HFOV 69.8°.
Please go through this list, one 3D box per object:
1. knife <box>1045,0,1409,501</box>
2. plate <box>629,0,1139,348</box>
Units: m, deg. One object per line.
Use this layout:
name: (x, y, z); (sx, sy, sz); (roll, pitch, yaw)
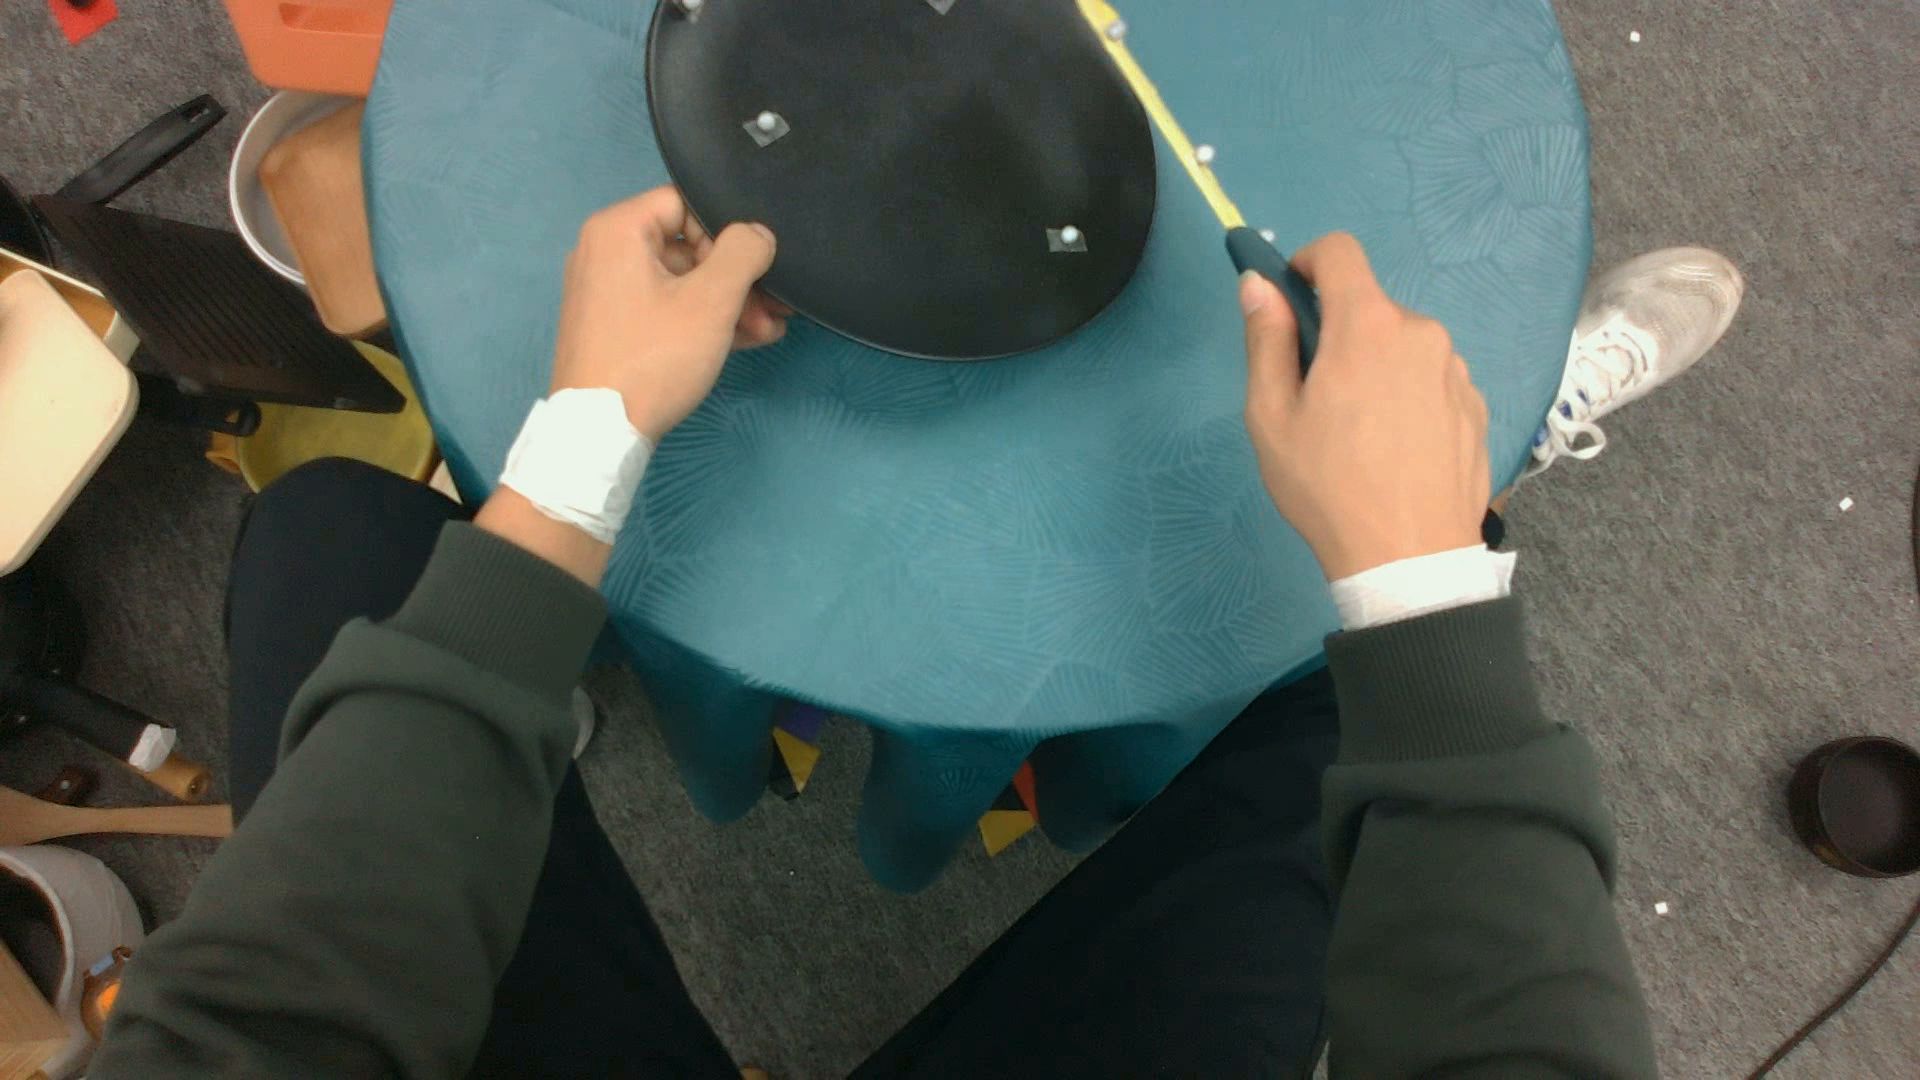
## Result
knife: (0.106, -0.140, 0.592); (0.027, 0.081, 0.290); (-36, 77, 23)
plate: (-0.030, -0.195, 0.633); (0.245, 0.023, 0.245); (8, 67, -20)
